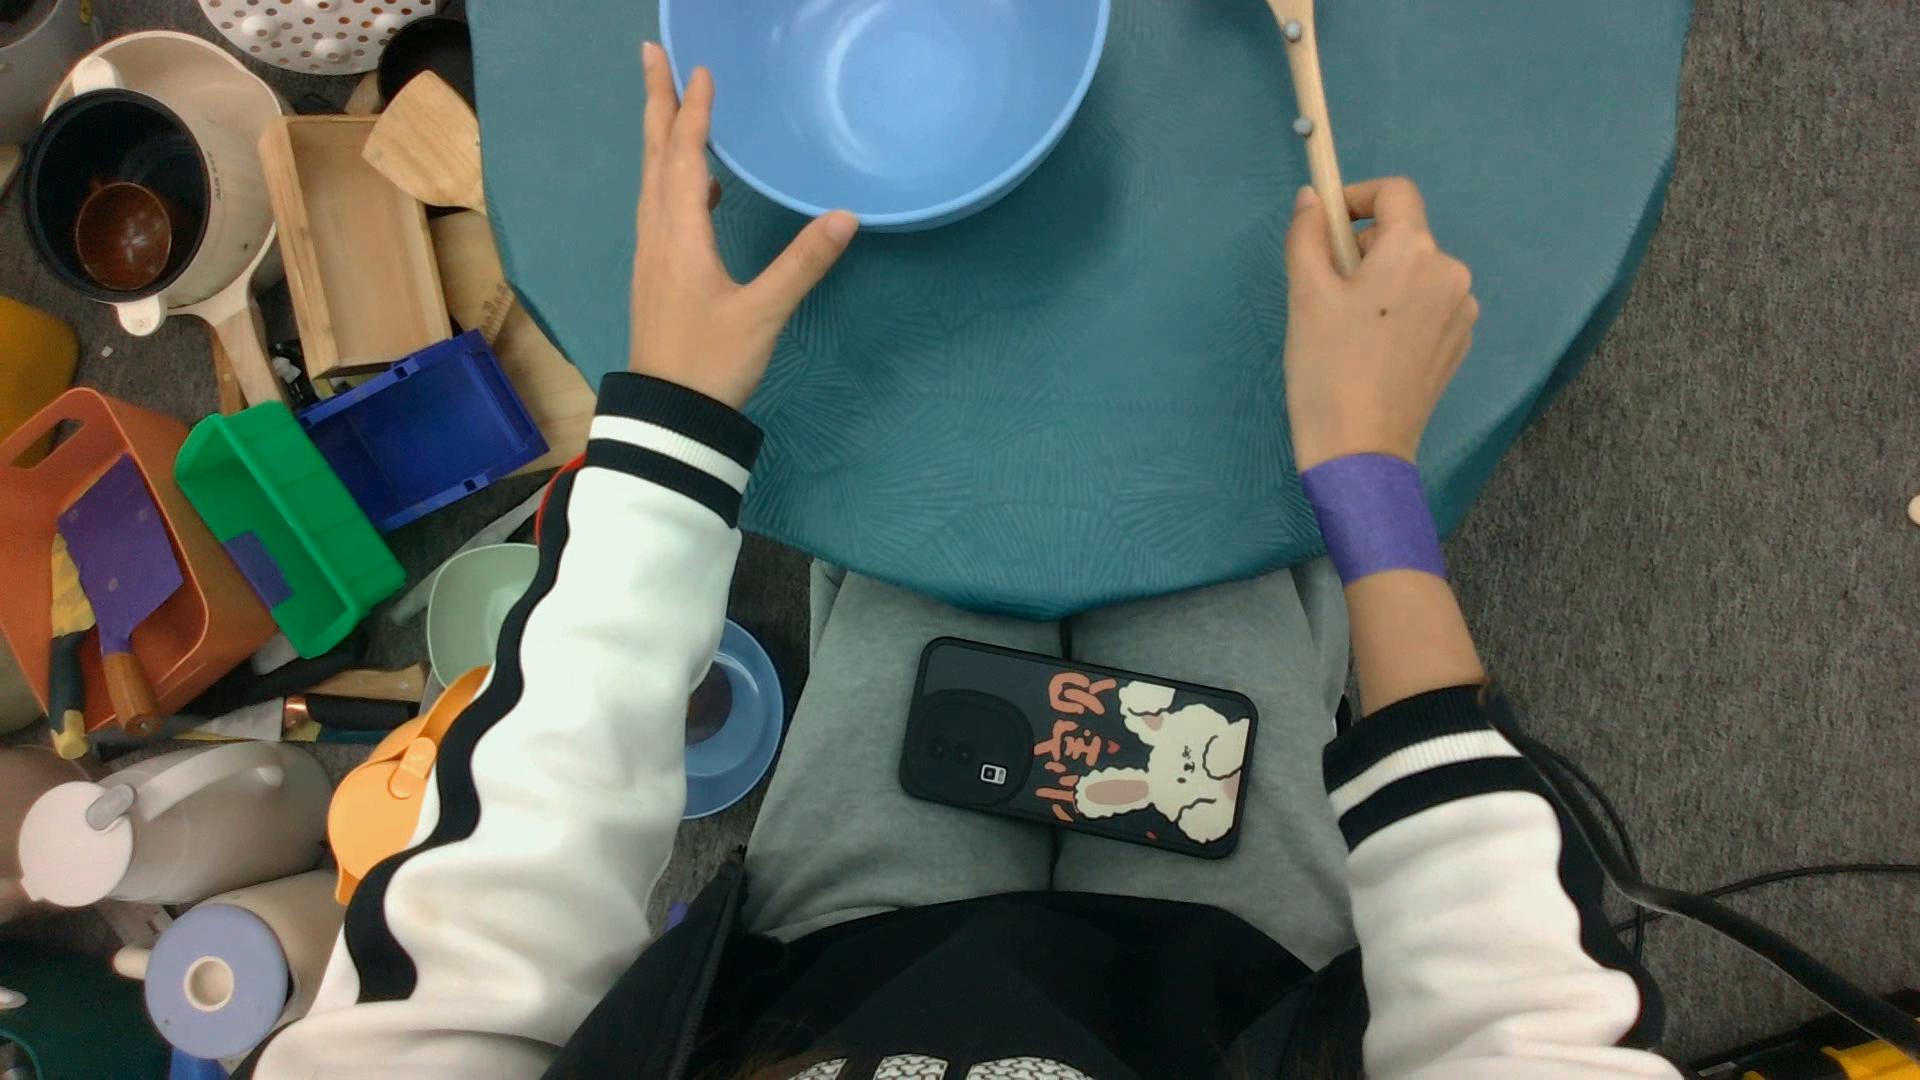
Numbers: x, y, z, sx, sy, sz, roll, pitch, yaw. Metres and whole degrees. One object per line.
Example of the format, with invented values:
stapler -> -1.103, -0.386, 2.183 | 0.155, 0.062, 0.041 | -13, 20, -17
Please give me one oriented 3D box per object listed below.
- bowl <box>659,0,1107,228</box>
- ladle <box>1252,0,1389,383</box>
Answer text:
bowl -> -0.031, -0.231, 0.644 | 0.196, 0.095, 0.196 | 0, 85, 4
ladle -> 0.141, -0.194, 0.591 | 0.072, 0.073, 0.255 | -16, 74, 28
